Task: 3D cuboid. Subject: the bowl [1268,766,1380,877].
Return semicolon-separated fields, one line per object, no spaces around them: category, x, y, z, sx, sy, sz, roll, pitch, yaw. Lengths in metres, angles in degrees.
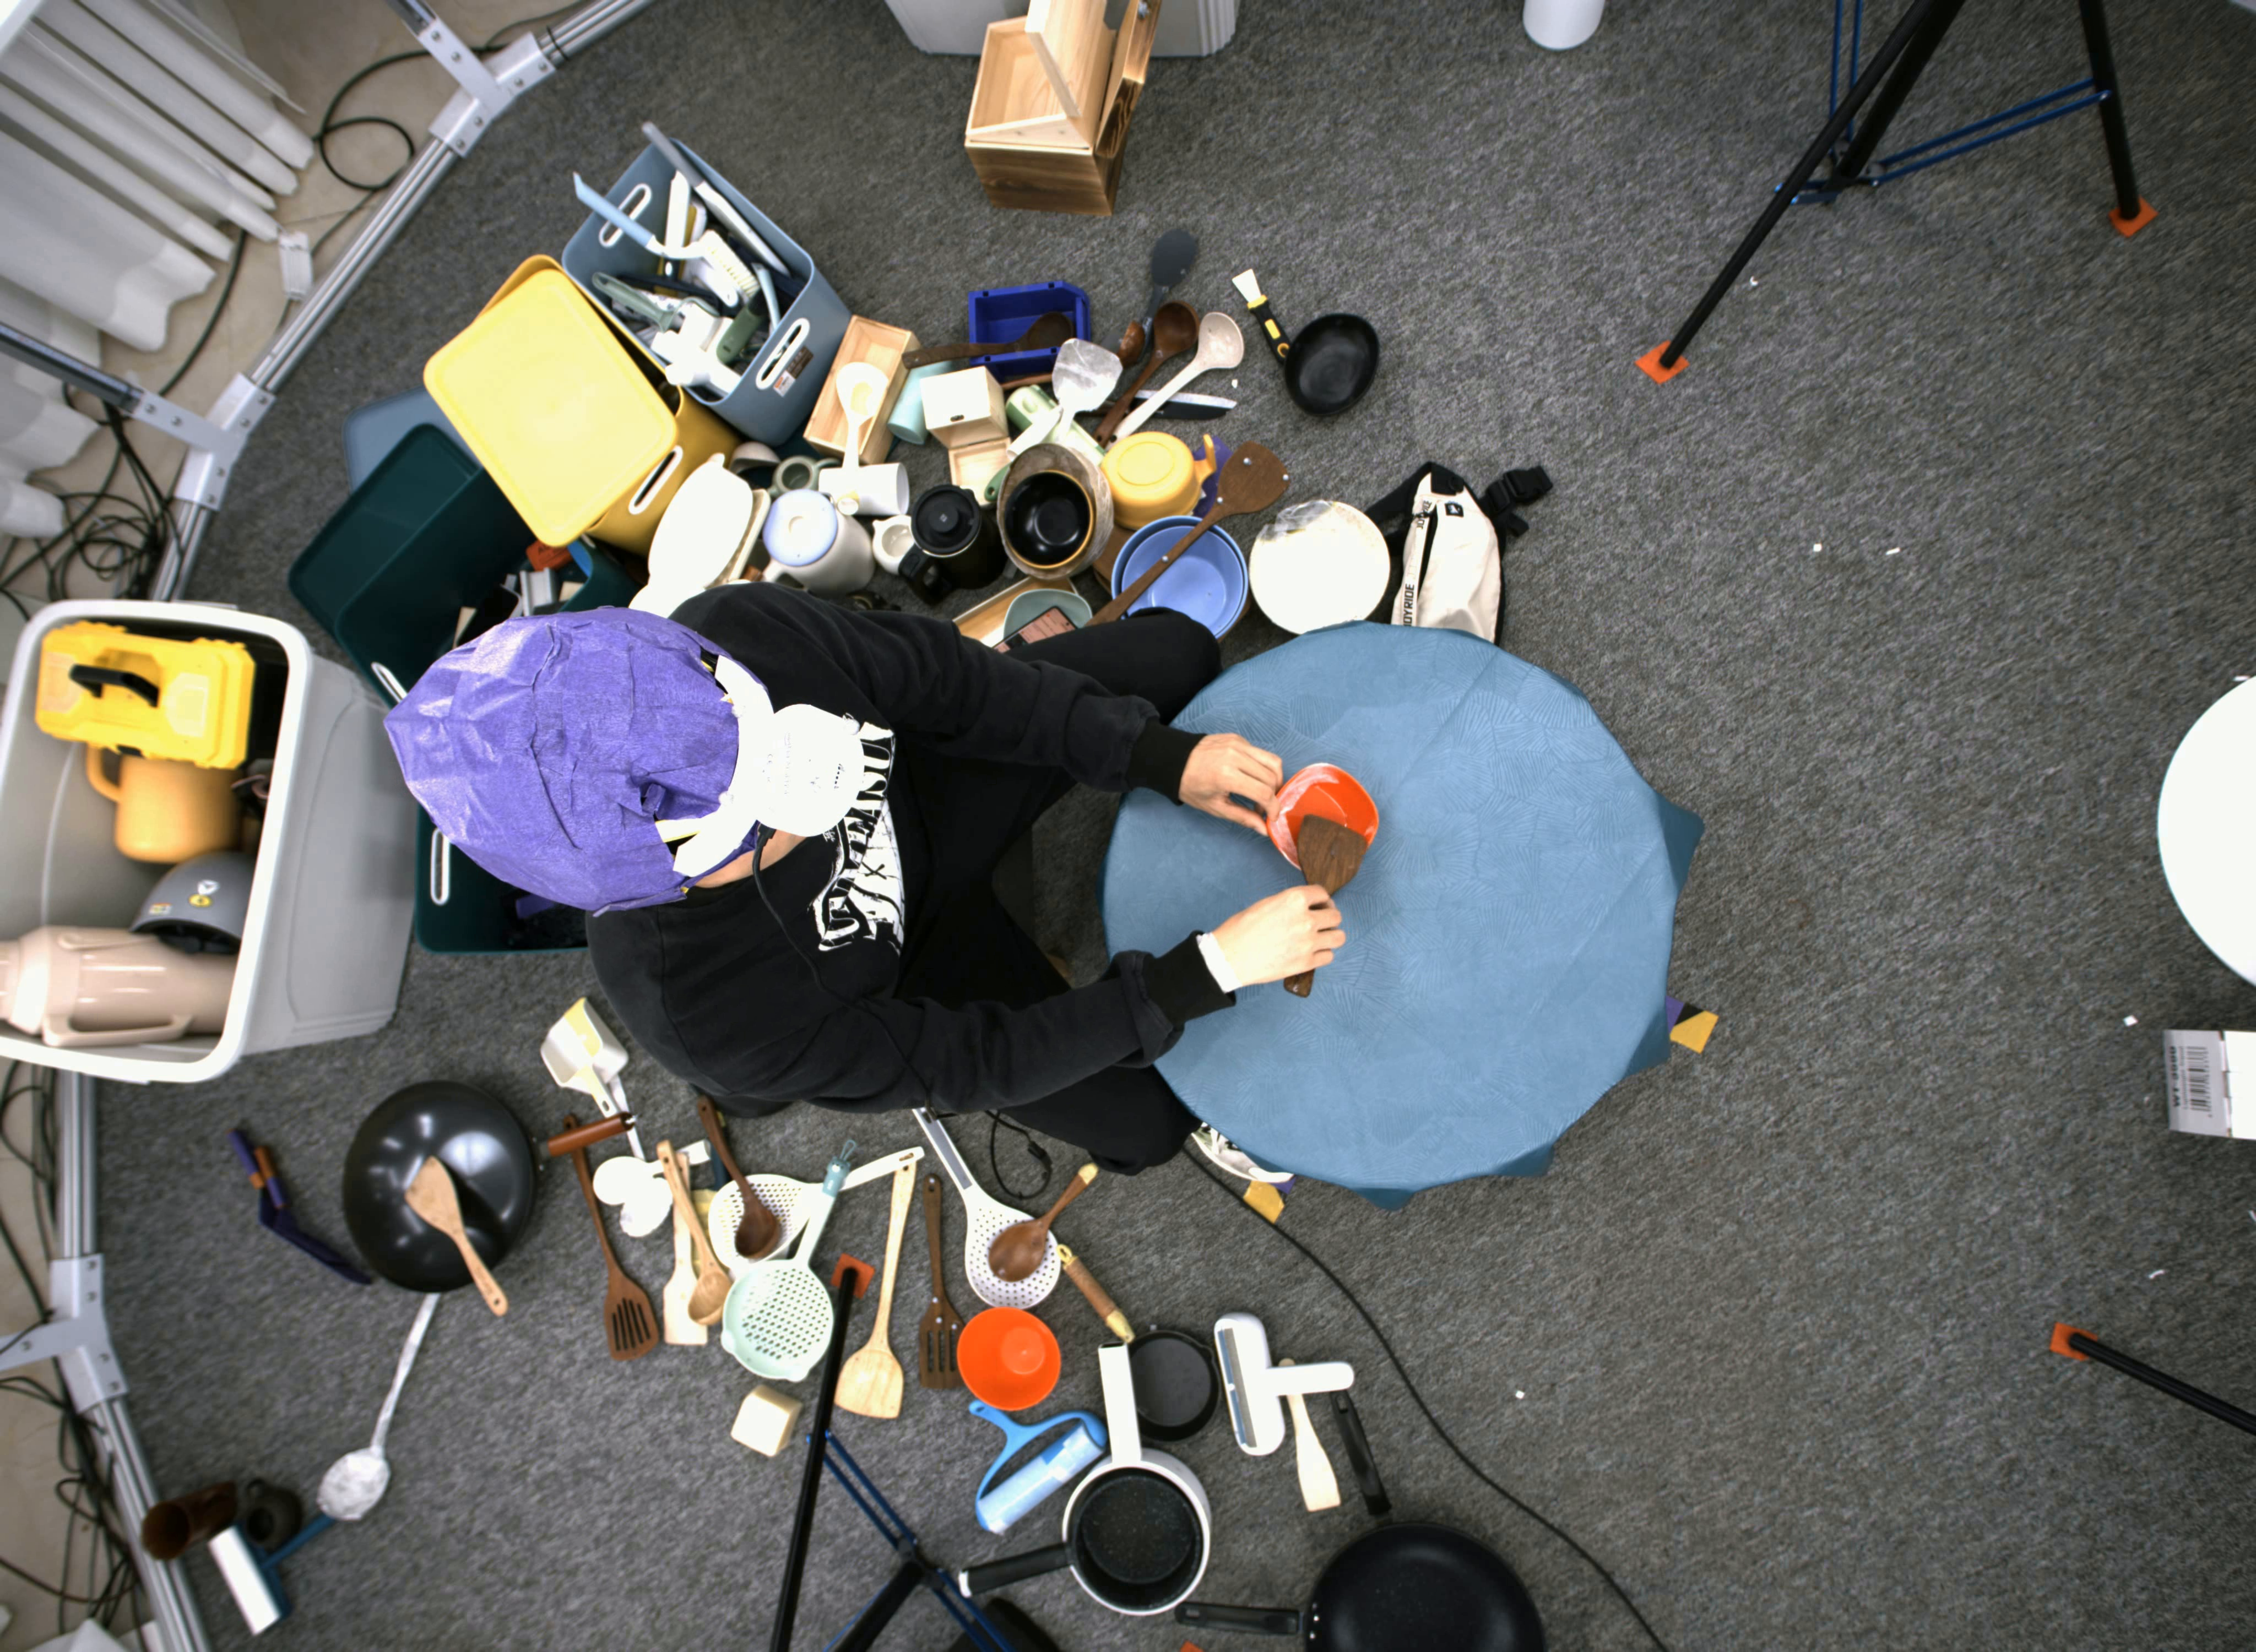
bowl;0.199;-0.004;1.448;0.119;0.051;0.119;0;93;-8

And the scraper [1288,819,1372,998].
scraper;0.191;0.081;1.374;0.076;0.011;0.206;22;55;-3
